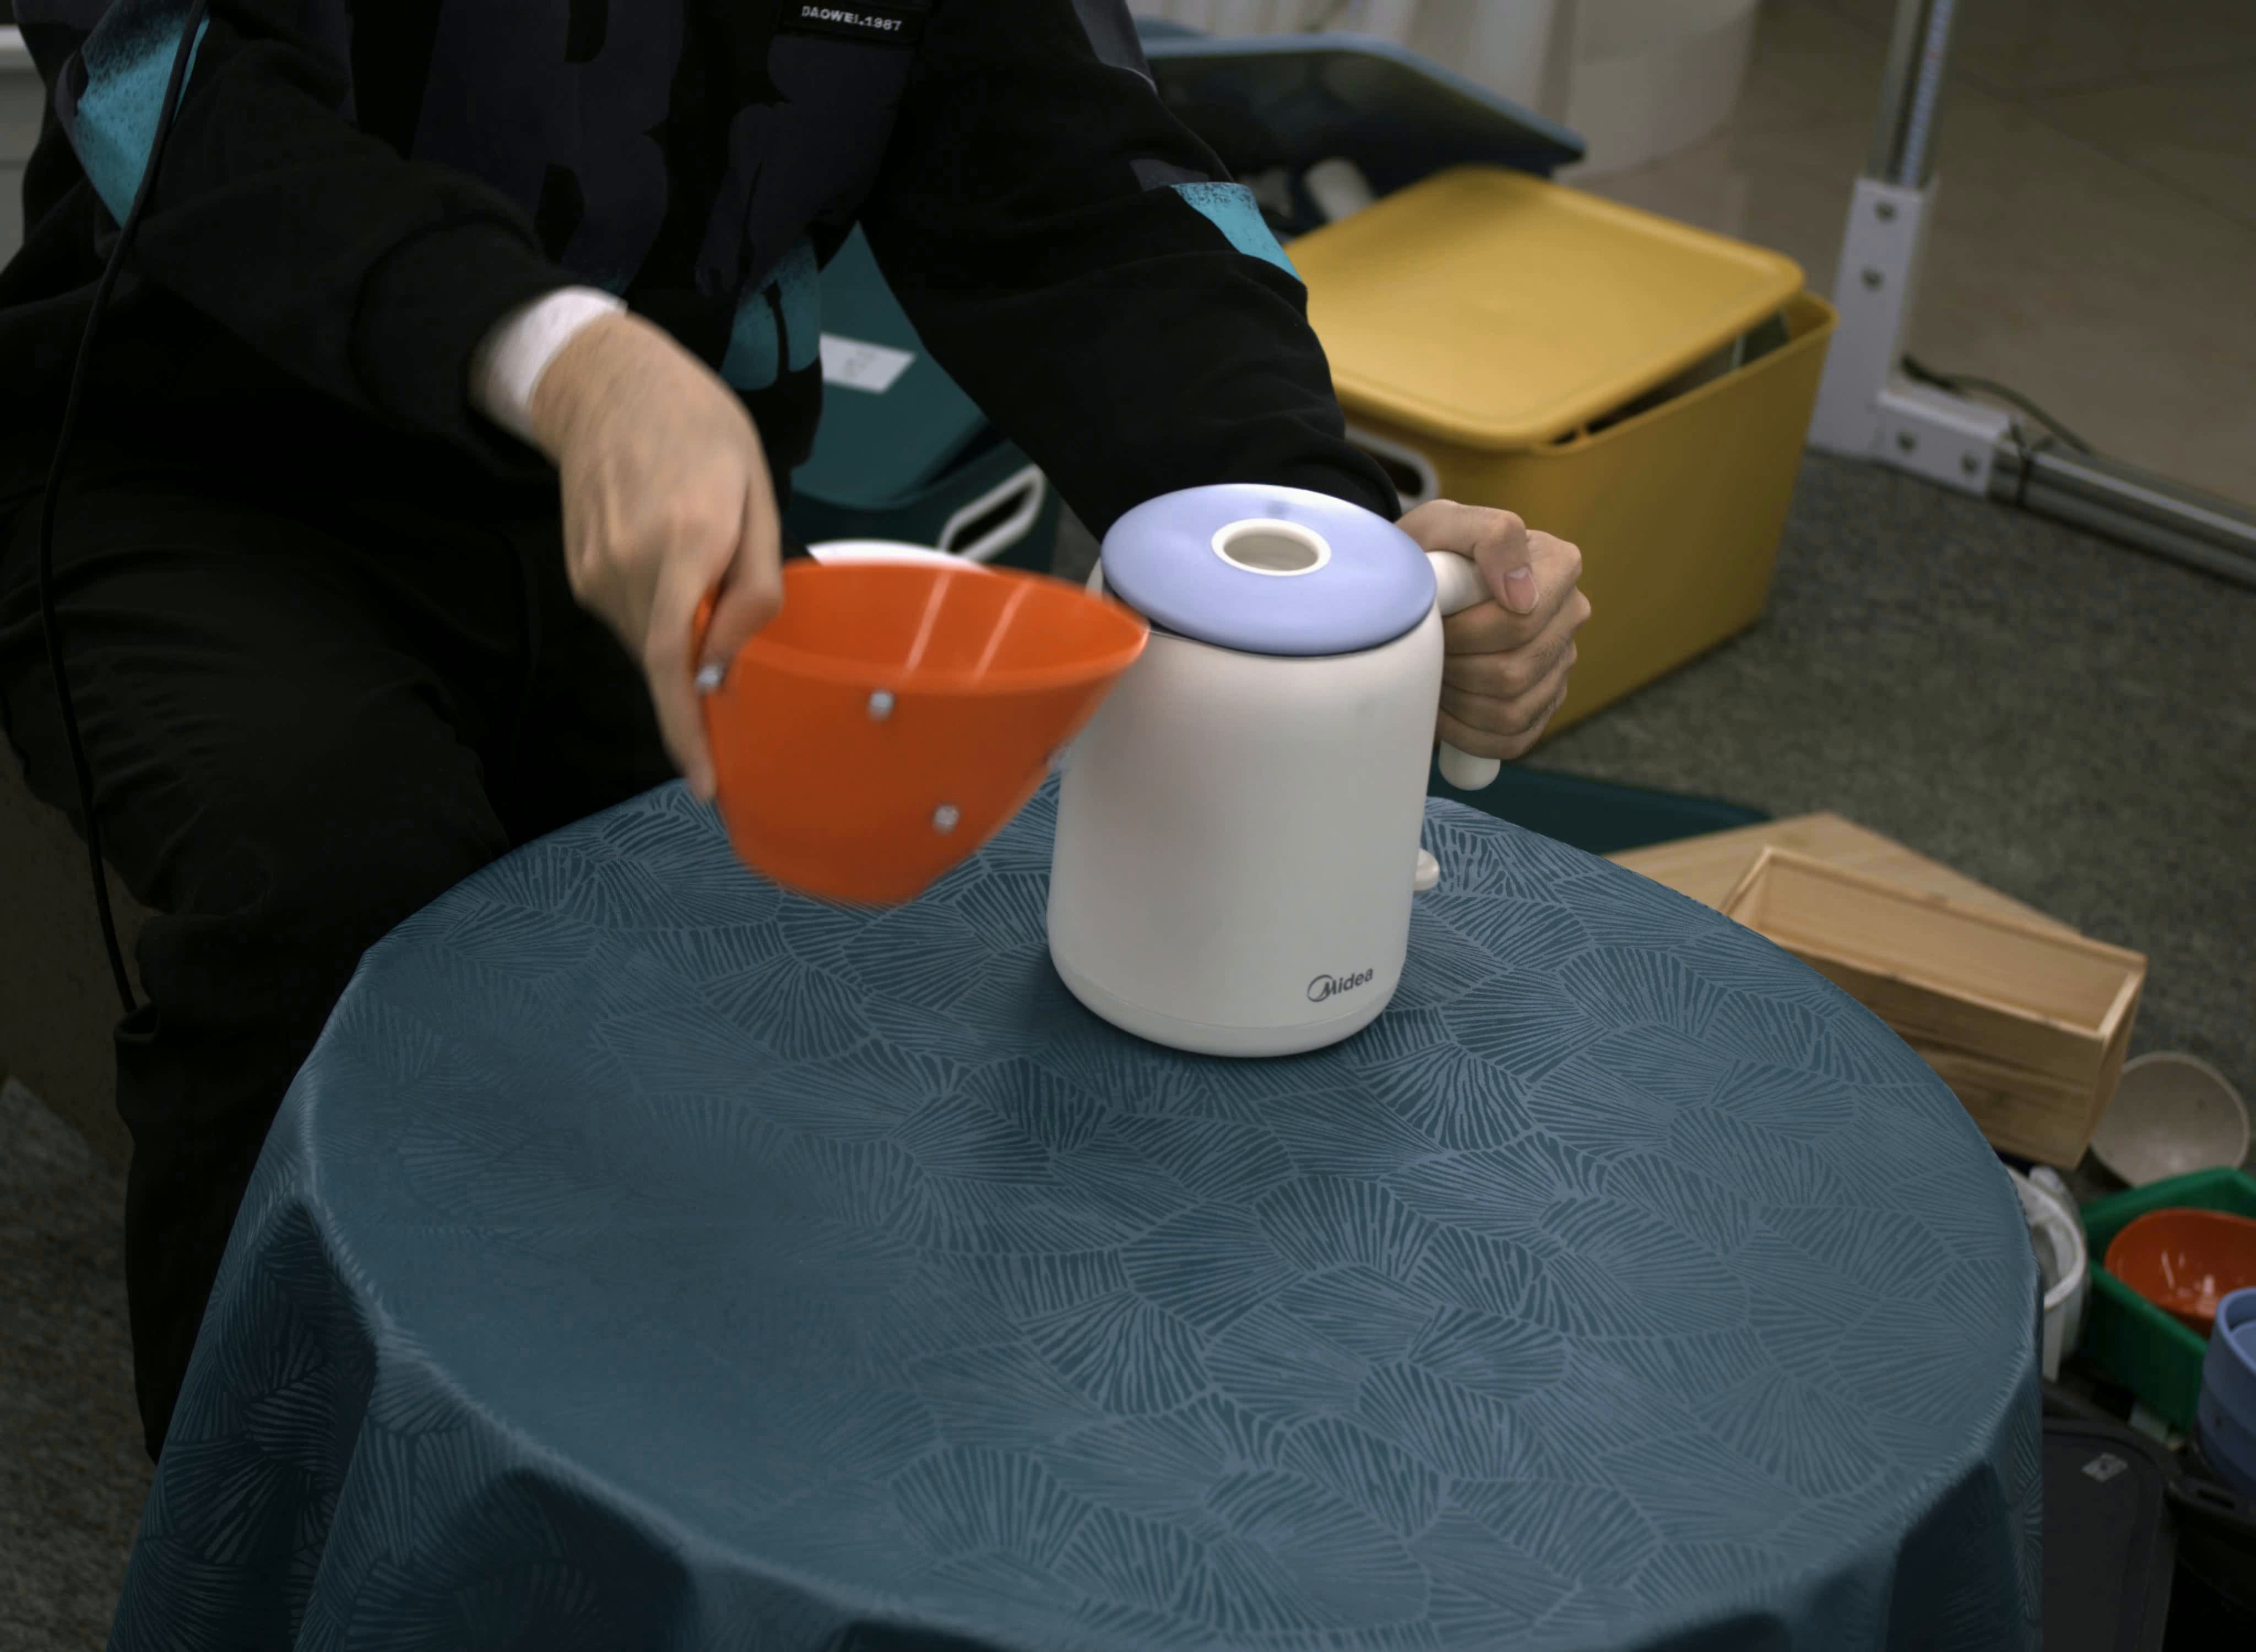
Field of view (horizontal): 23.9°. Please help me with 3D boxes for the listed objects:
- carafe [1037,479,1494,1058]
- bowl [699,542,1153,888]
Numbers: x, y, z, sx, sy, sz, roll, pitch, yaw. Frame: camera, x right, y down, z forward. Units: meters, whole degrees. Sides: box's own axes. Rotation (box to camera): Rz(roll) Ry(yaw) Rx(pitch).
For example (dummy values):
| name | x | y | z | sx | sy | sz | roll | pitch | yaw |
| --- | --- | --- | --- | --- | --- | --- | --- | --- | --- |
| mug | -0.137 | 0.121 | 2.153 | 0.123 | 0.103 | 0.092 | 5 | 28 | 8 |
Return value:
| name | x | y | z | sx | sy | sz | roll | pitch | yaw |
| --- | --- | --- | --- | --- | --- | --- | --- | --- | --- |
| carafe | 0.058 | -0.026 | 1.910 | 0.190 | 0.182 | 0.133 | -15 | 37 | -36 |
| bowl | -0.076 | -0.036 | 1.745 | 0.147 | 0.104 | 0.148 | 14 | 16 | -5 |
